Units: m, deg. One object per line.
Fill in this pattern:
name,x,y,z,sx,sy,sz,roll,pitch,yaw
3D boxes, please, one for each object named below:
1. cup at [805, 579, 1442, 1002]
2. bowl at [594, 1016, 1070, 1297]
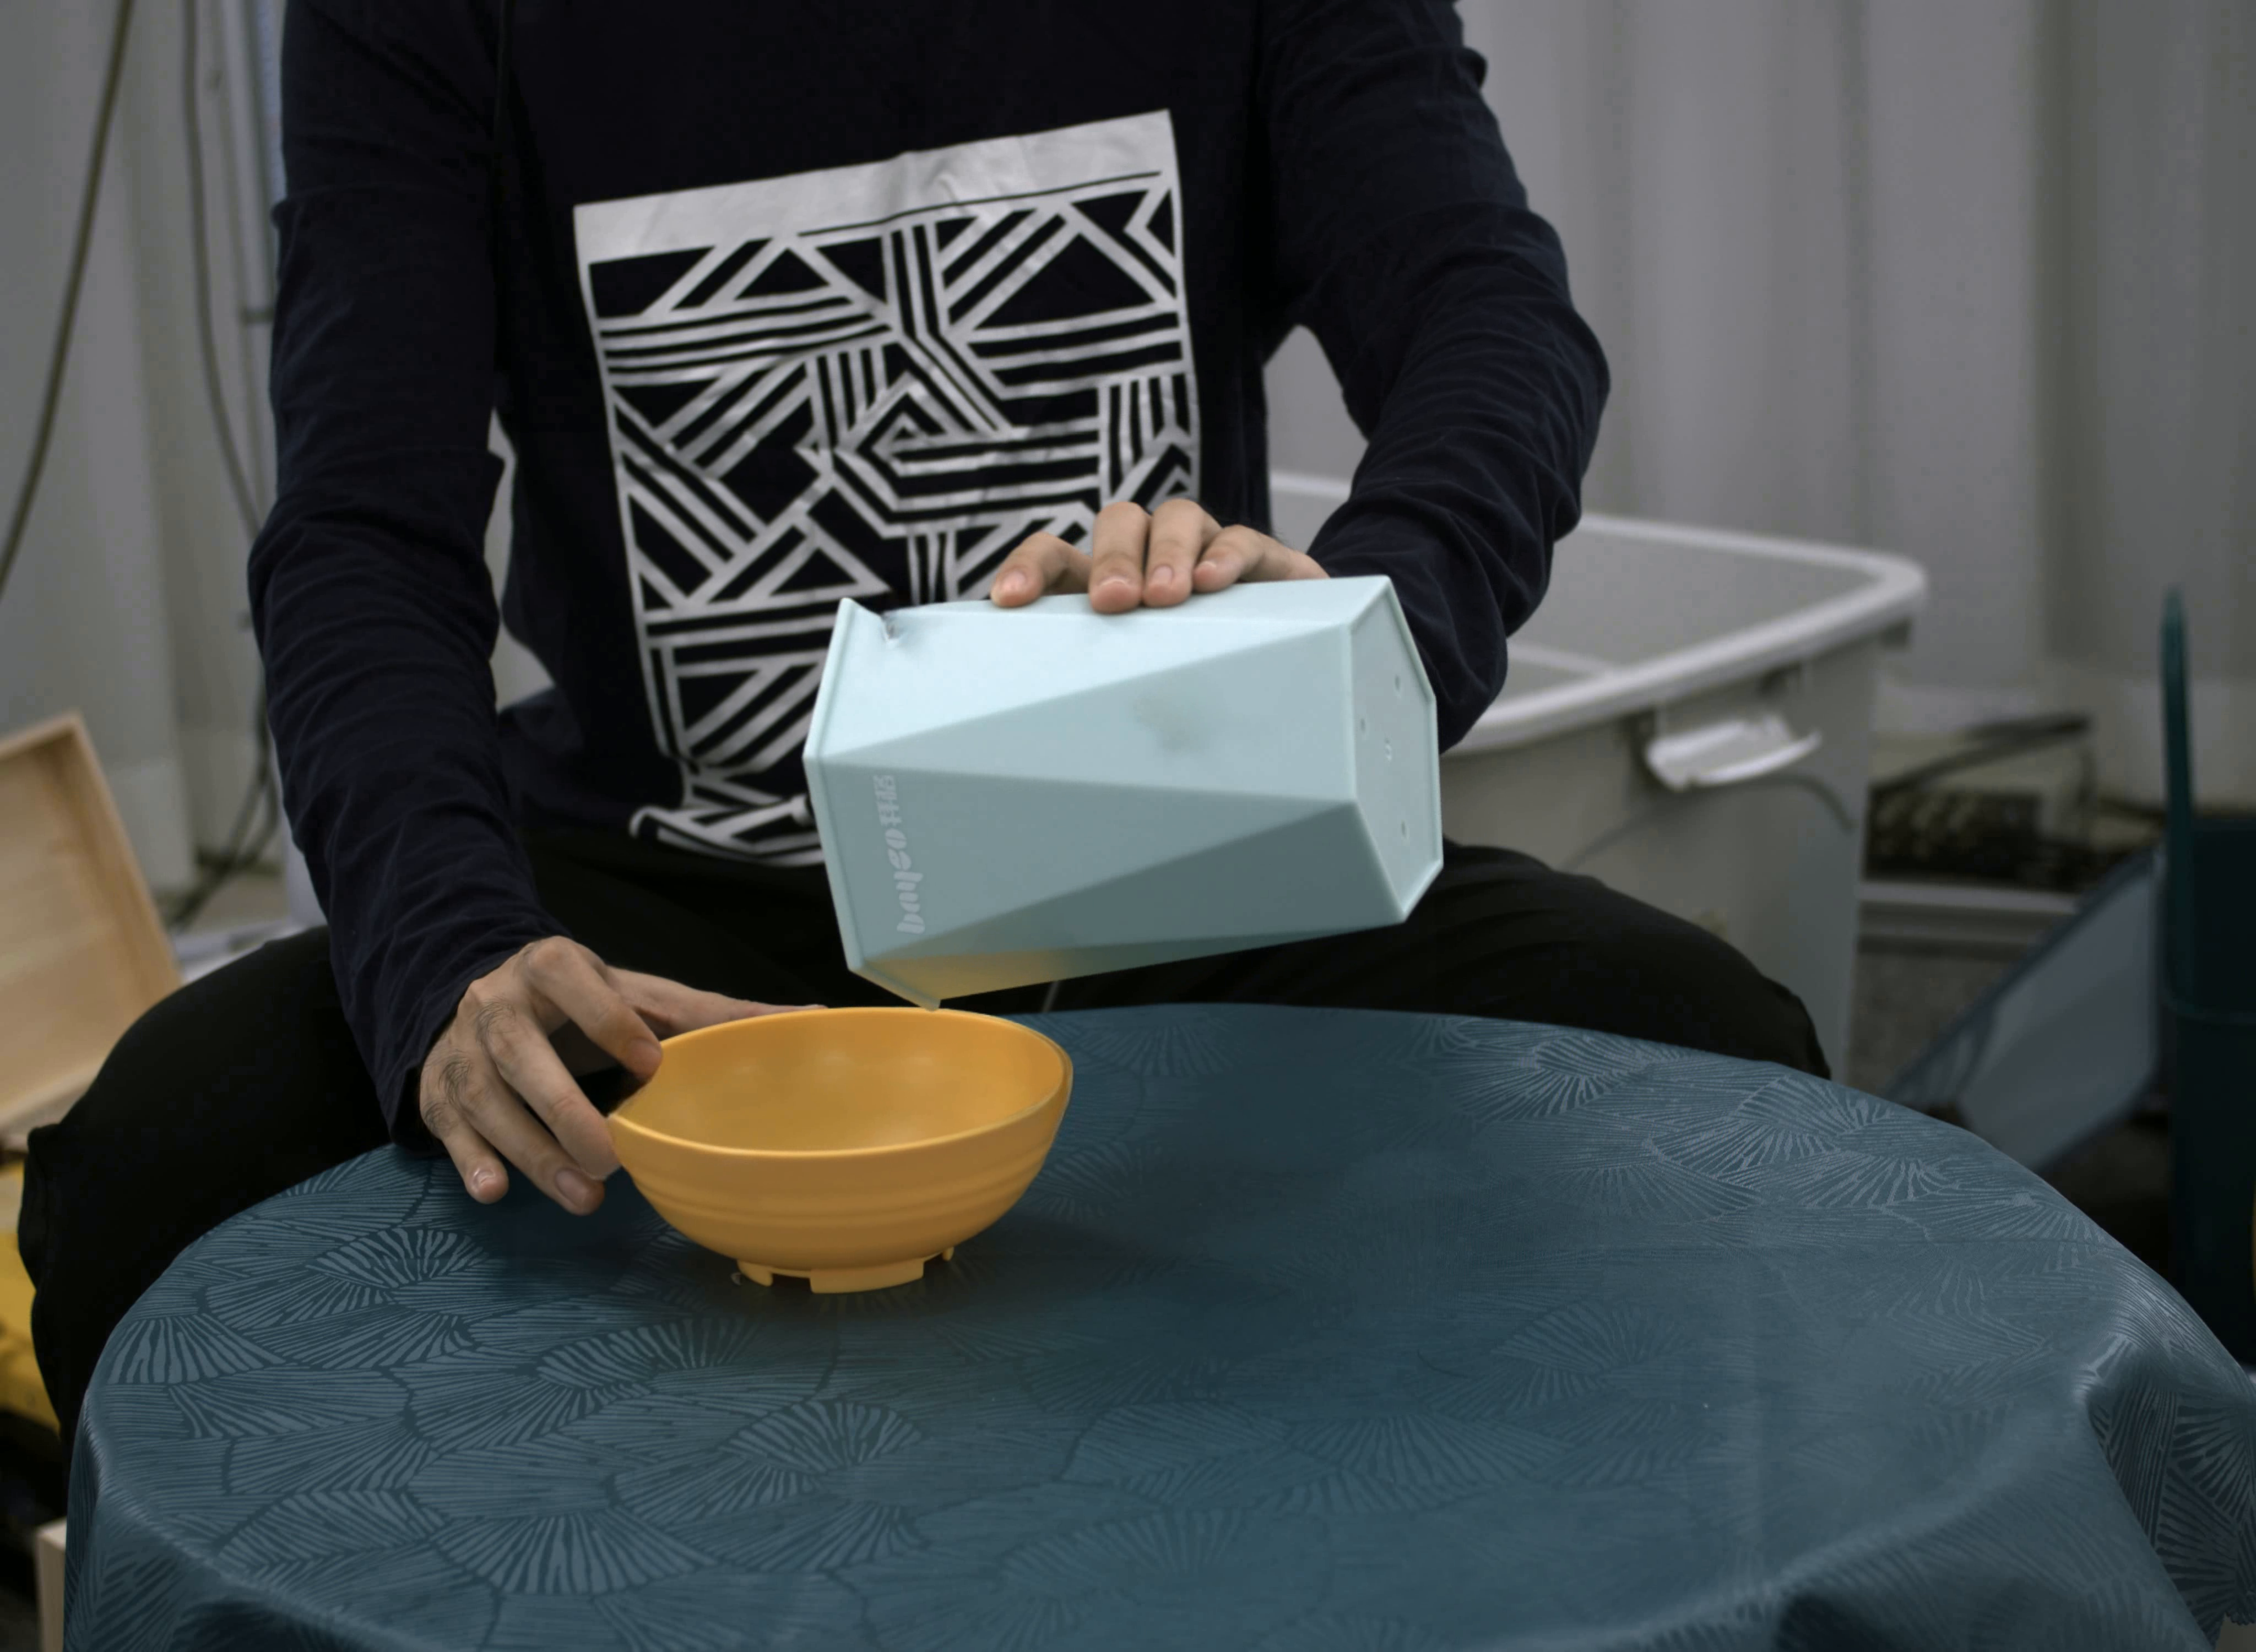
cup,0.003,-0.016,1.617,0.163,0.130,0.115,-5,13,19
bowl,-0.088,0.105,1.661,0.145,0.060,0.146,-2,13,0
